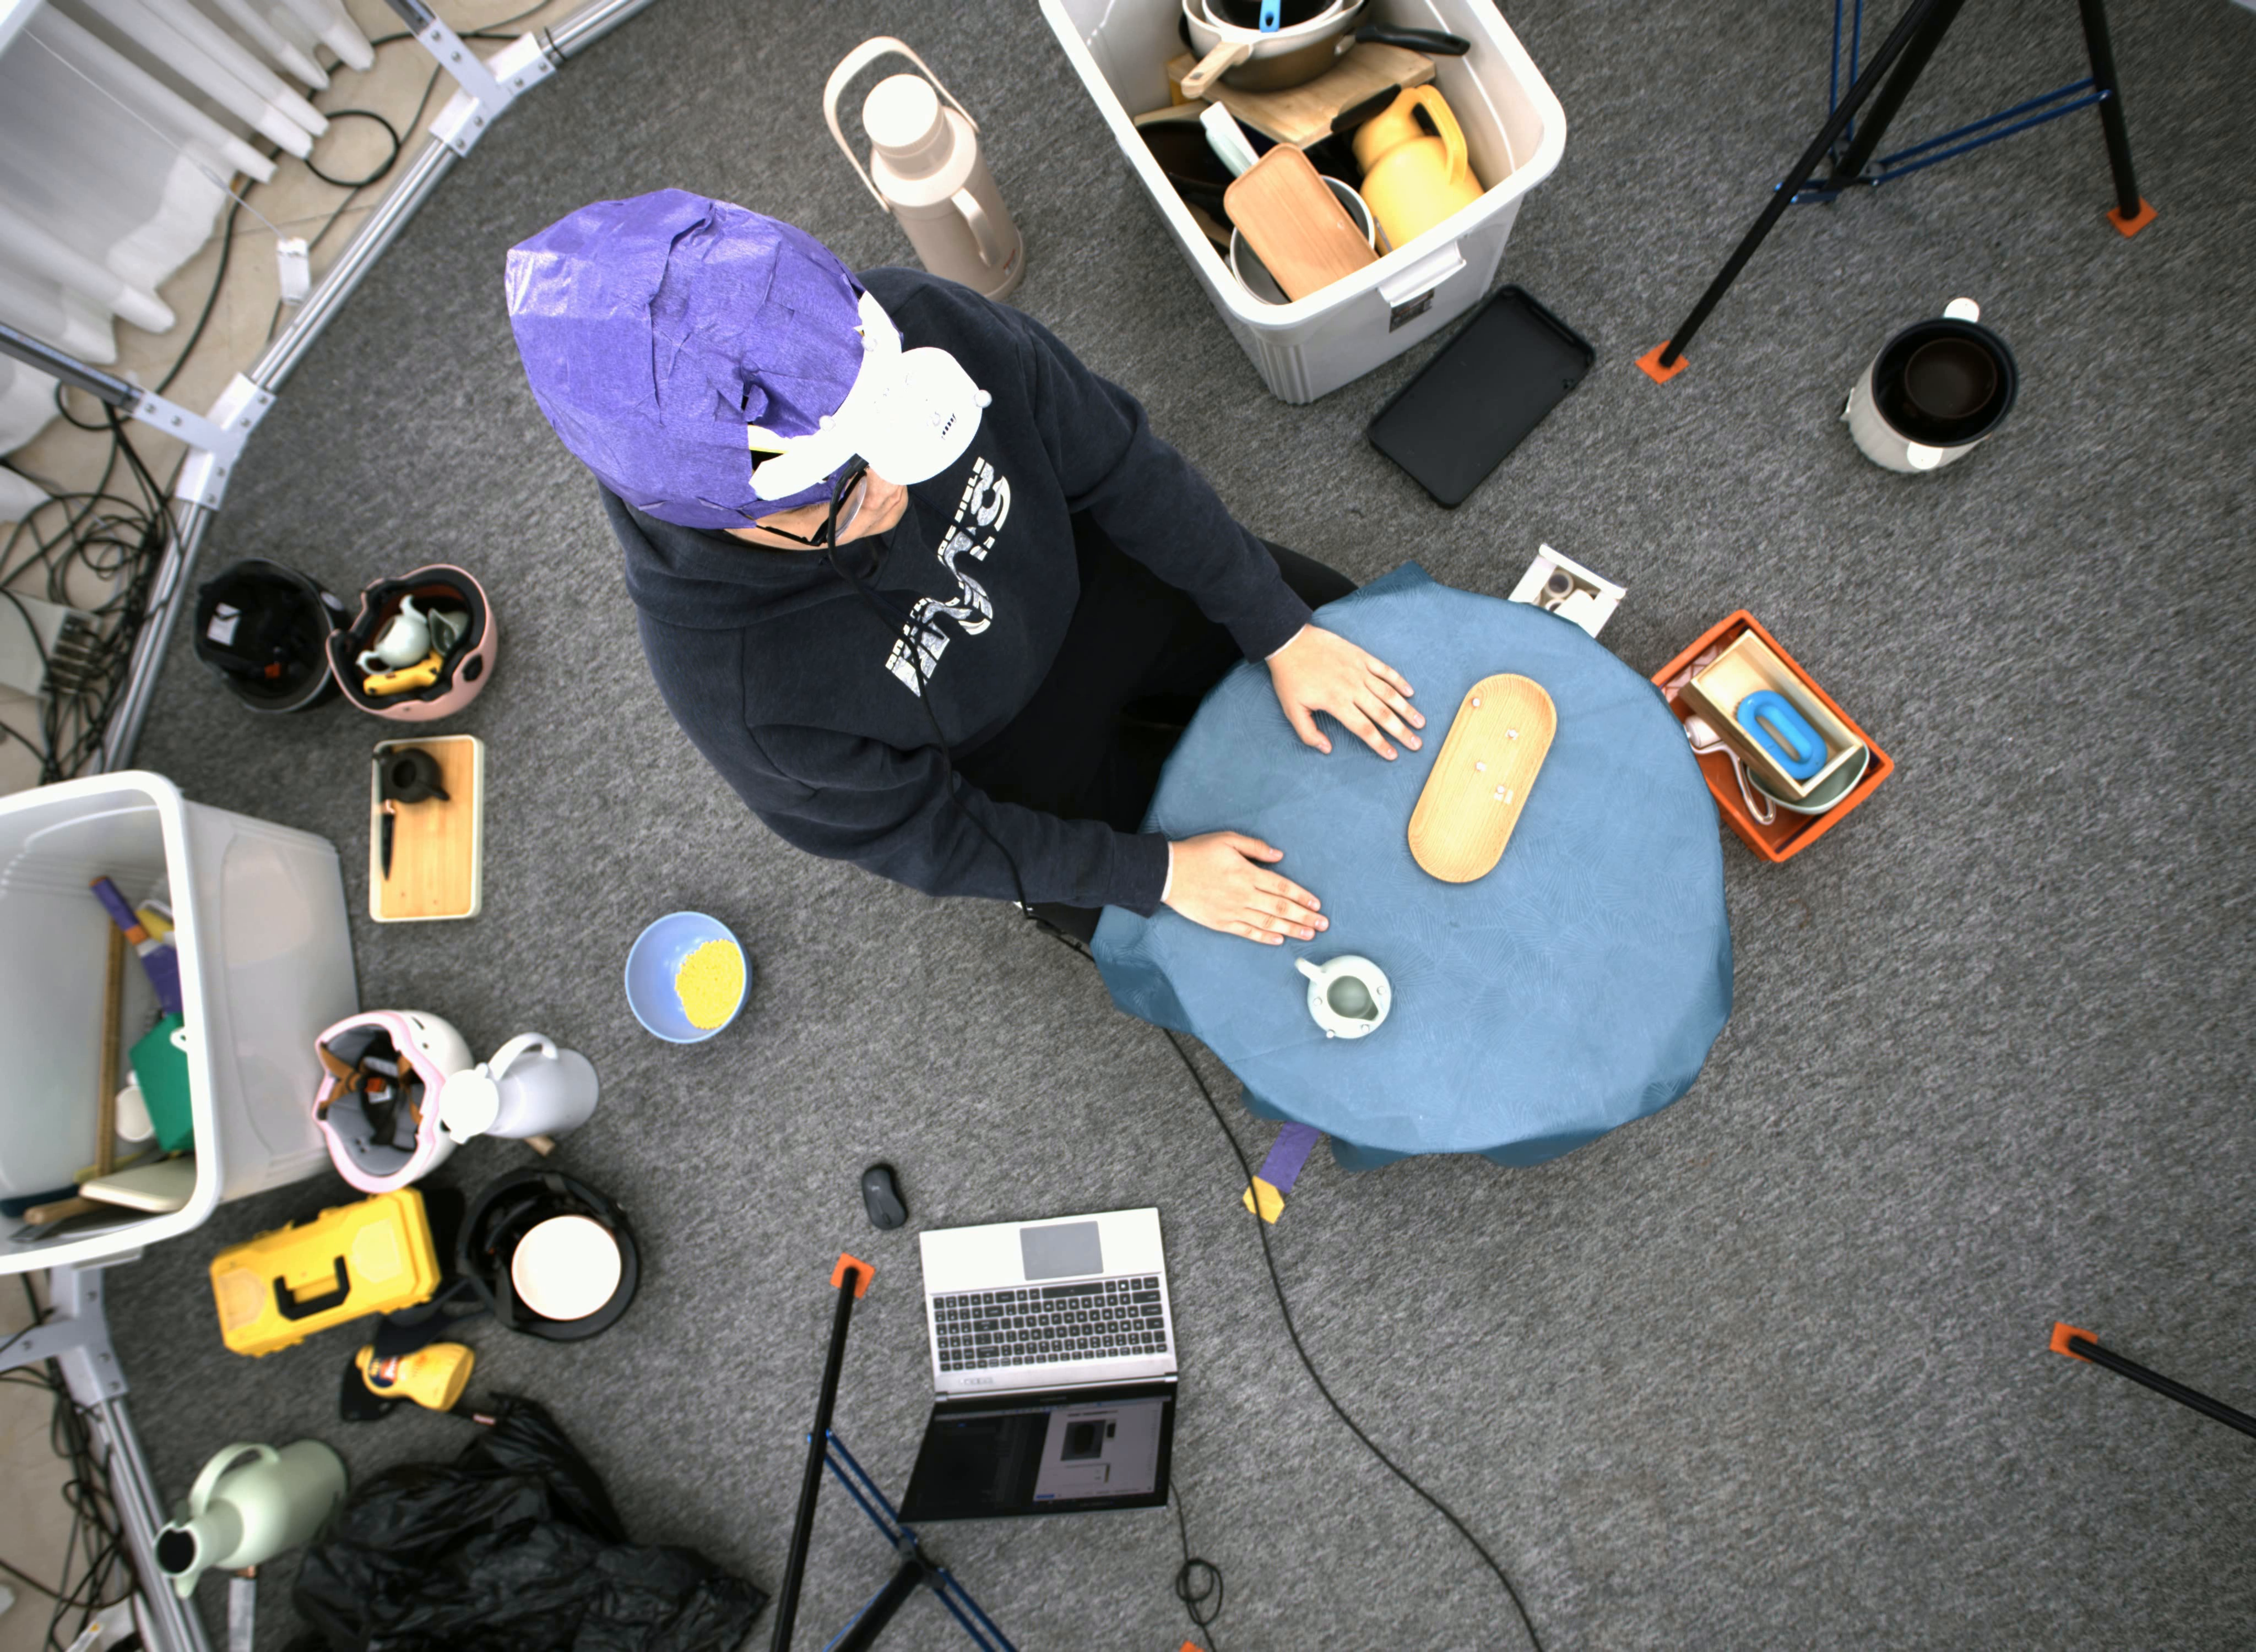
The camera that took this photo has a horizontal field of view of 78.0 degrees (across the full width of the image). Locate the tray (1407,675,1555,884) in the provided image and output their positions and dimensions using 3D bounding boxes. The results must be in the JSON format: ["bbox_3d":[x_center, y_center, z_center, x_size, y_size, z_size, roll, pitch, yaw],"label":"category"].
[{"bbox_3d":[0.370,-0.050,1.441,0.101,0.020,0.231,24,93,13],"label":"tray"}]

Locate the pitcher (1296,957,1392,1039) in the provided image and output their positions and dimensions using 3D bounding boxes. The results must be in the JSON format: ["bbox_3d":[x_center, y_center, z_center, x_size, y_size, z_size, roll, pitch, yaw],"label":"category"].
[{"bbox_3d":[0.221,0.170,1.436,0.107,0.060,0.086,32,91,13],"label":"pitcher"}]
